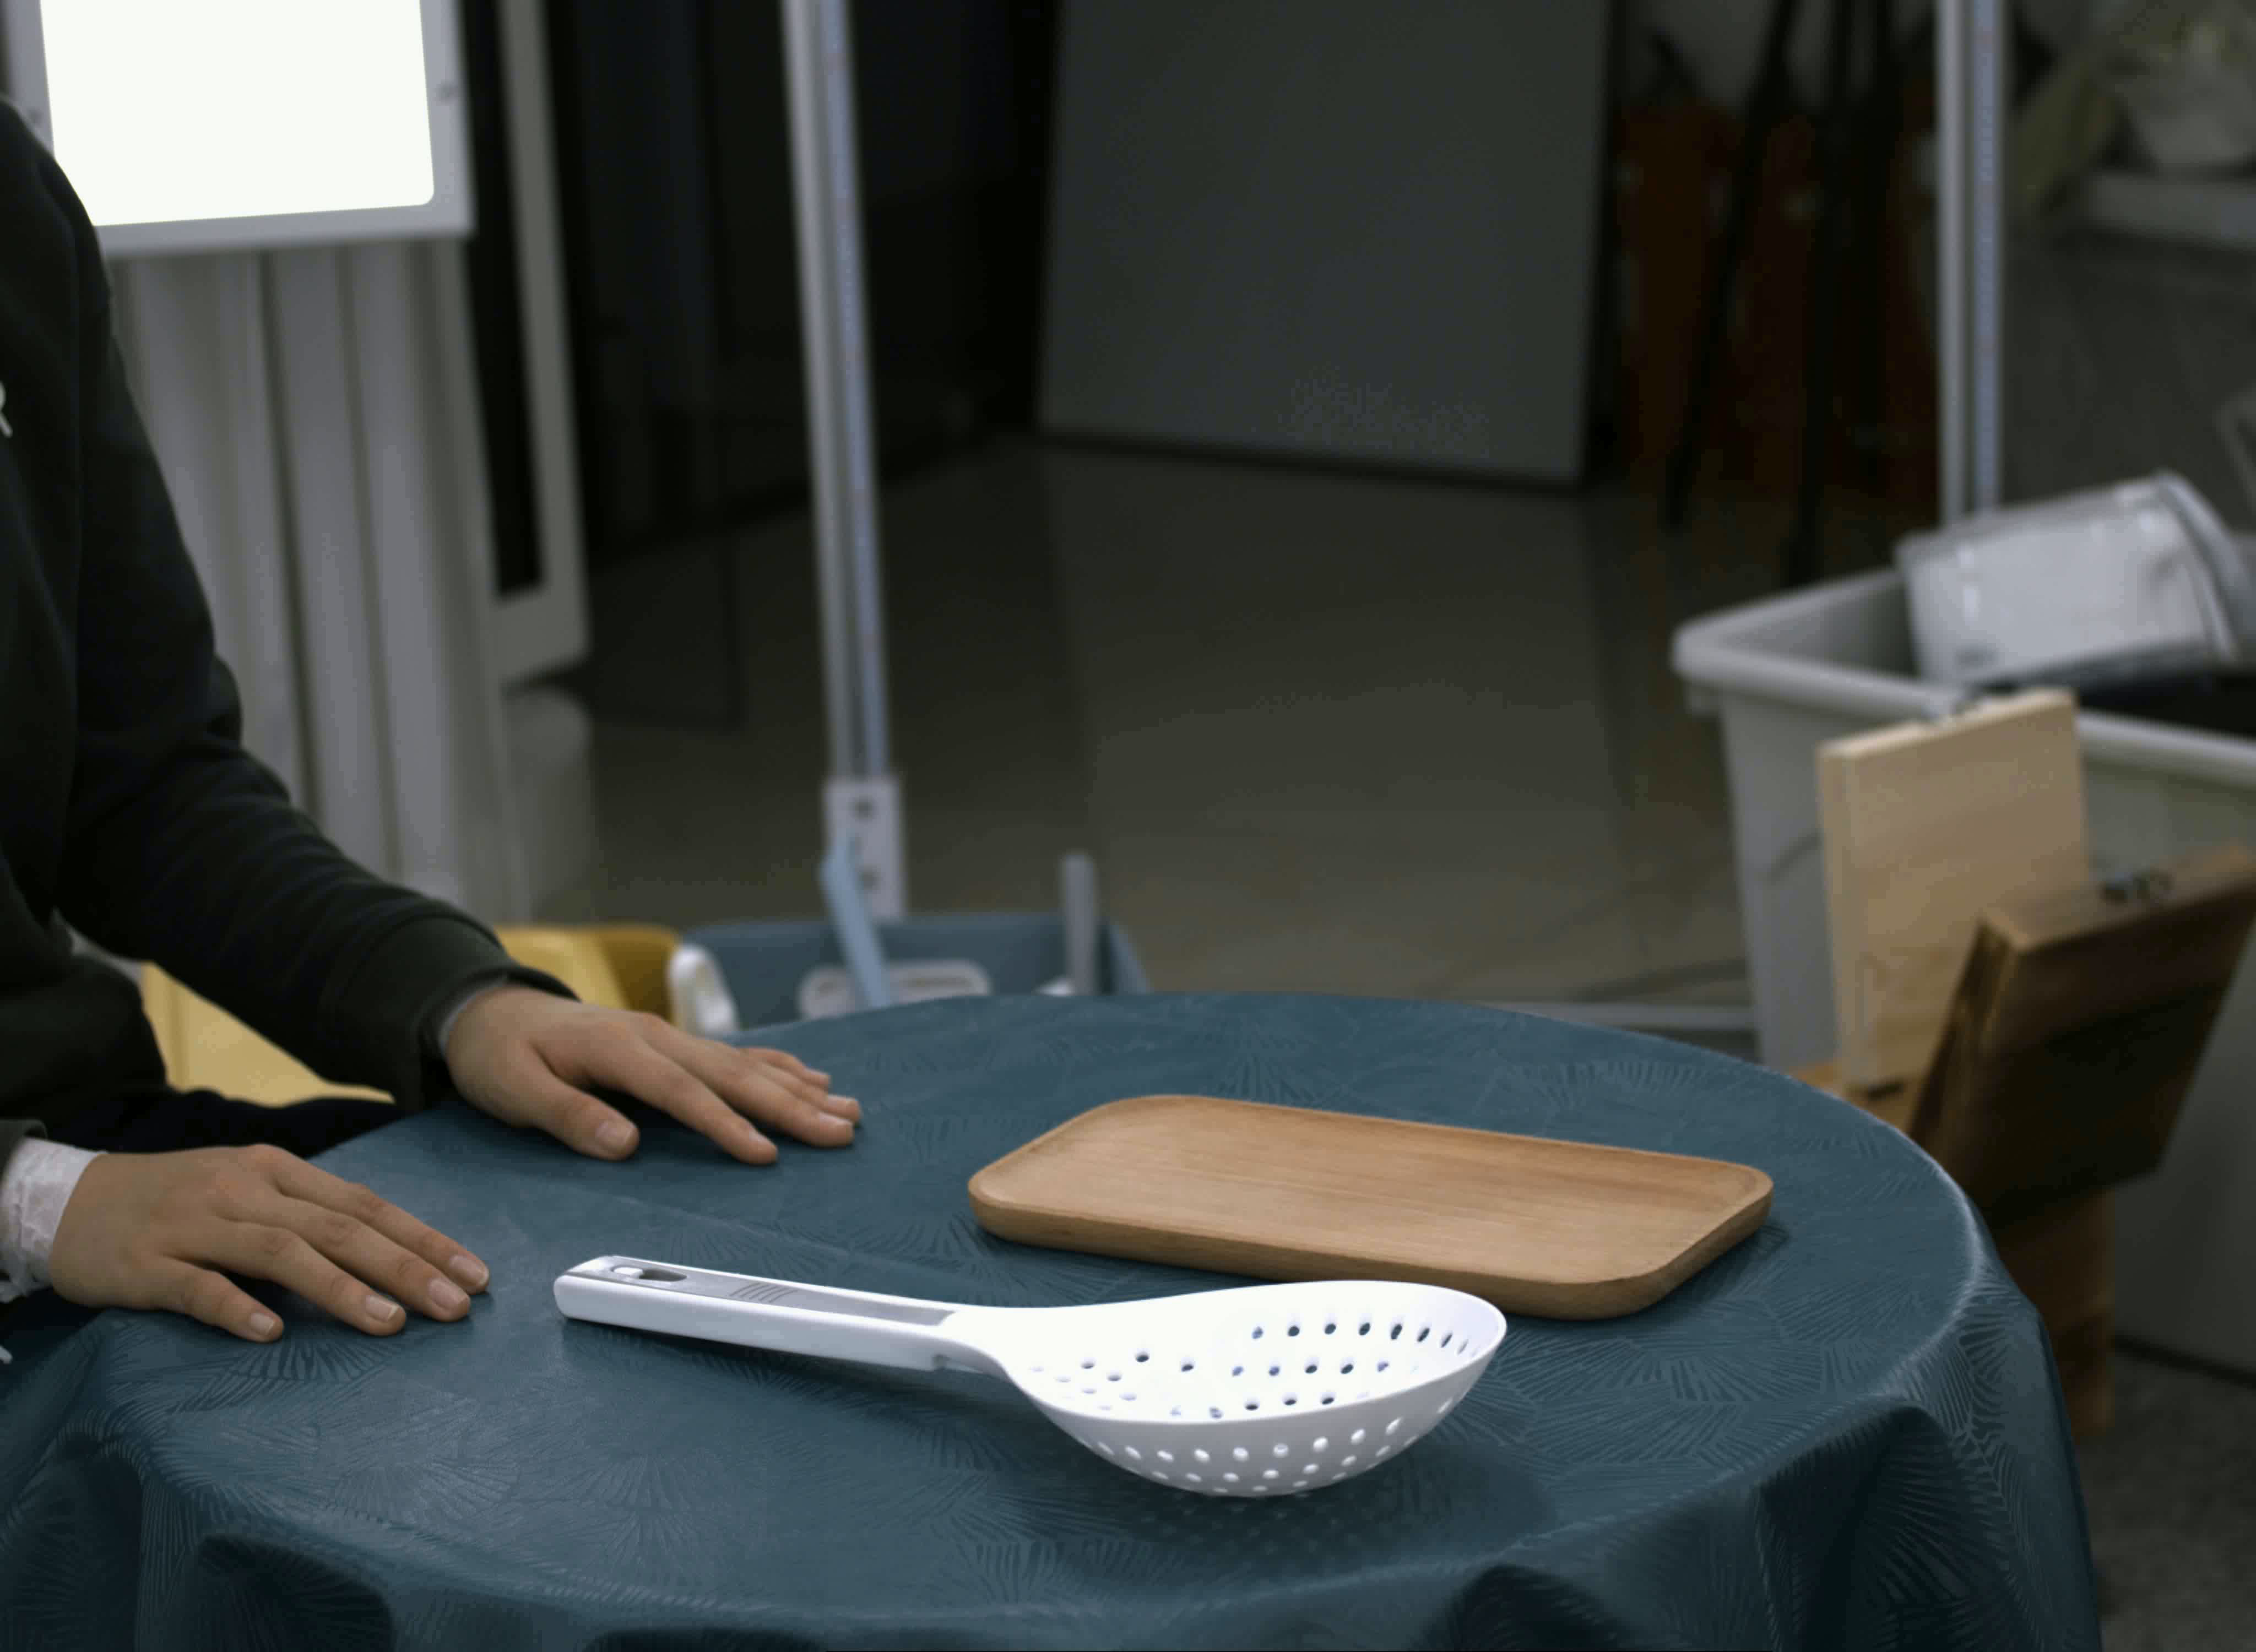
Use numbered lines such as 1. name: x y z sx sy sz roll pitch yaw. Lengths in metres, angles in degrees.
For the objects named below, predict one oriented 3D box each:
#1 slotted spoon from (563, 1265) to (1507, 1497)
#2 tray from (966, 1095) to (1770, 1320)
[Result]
1. slotted spoon: -0.040 0.150 1.571 0.353 0.046 0.133 7 16 42
2. tray: 0.075 0.120 1.718 0.252 0.023 0.128 4 14 33
